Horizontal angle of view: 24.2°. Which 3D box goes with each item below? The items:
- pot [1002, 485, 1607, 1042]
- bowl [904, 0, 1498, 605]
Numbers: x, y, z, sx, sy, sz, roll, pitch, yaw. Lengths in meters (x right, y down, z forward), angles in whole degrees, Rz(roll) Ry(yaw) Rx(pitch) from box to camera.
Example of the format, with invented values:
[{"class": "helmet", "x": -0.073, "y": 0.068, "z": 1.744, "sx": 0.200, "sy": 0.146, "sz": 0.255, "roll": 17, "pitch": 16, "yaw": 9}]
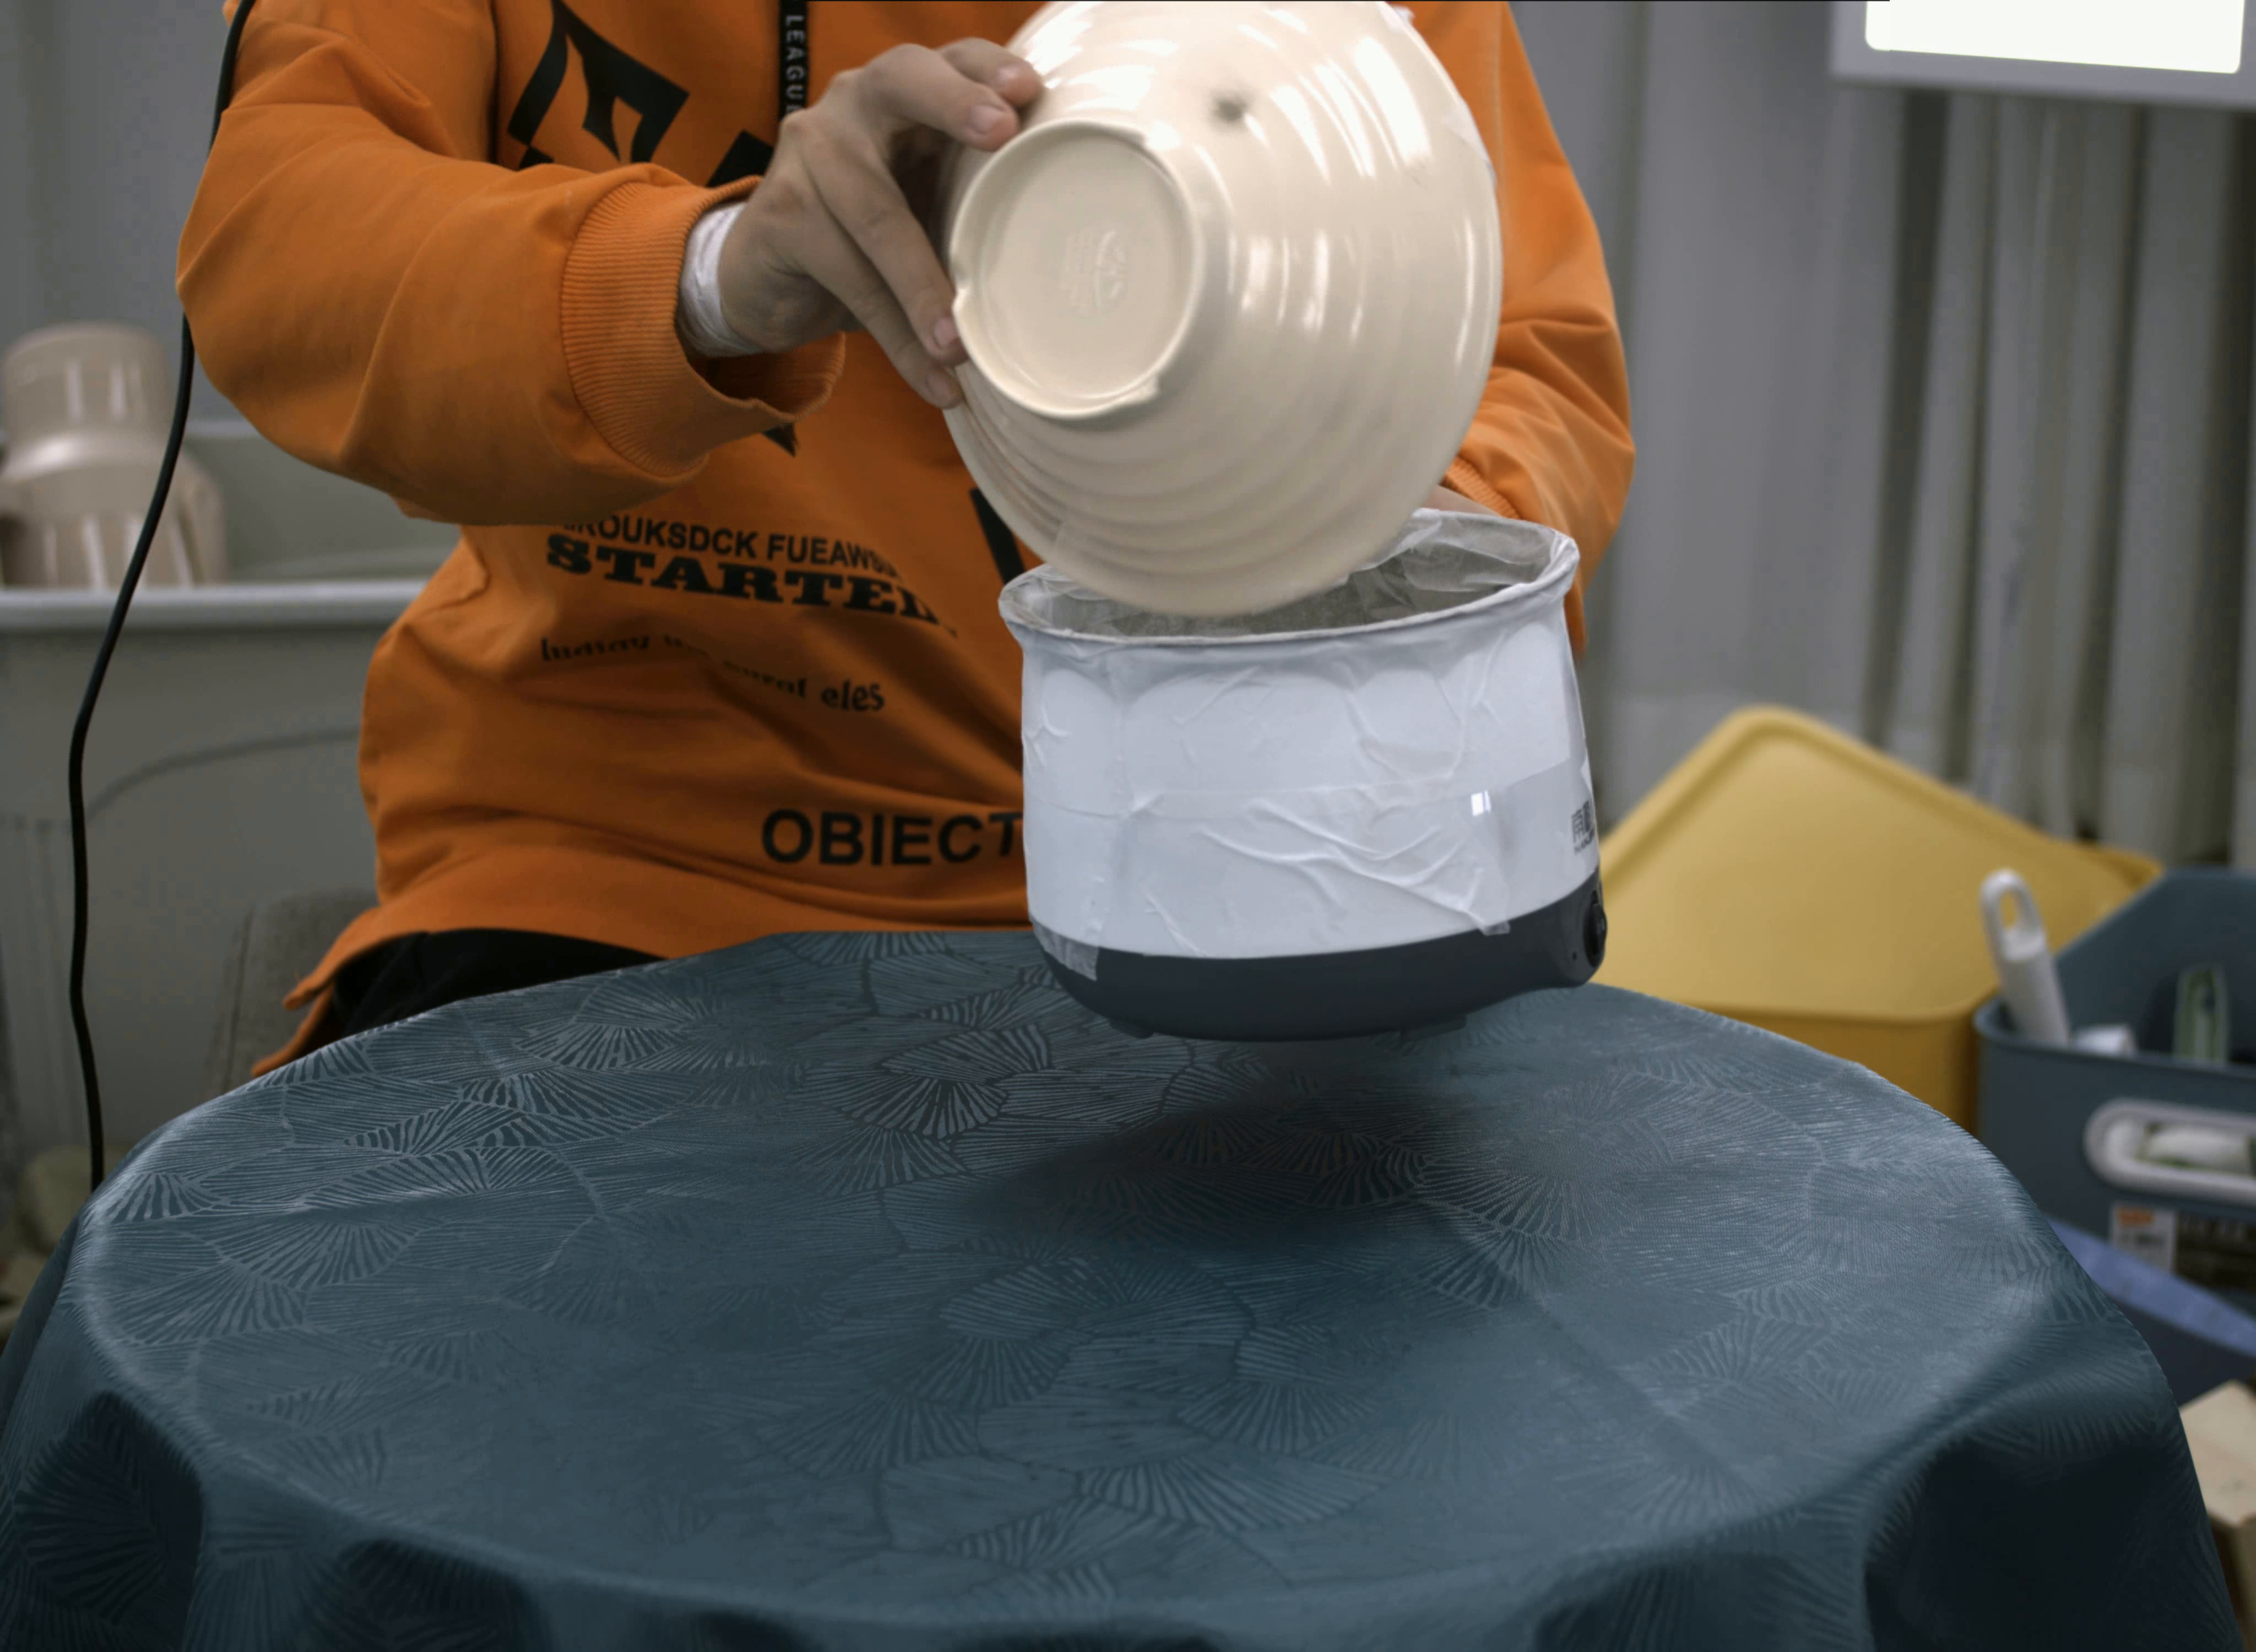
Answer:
[{"class": "pot", "x": 0.063, "y": -0.024, "z": 1.633, "sx": 0.177, "sy": 0.138, "sz": 0.233, "roll": 0, "pitch": 16, "yaw": 16}, {"class": "bowl", "x": 0.002, "y": -0.167, "z": 1.540, "sx": 0.201, "sy": 0.205, "sz": 0.078, "roll": 10, "pitch": 8, "yaw": 28}]
